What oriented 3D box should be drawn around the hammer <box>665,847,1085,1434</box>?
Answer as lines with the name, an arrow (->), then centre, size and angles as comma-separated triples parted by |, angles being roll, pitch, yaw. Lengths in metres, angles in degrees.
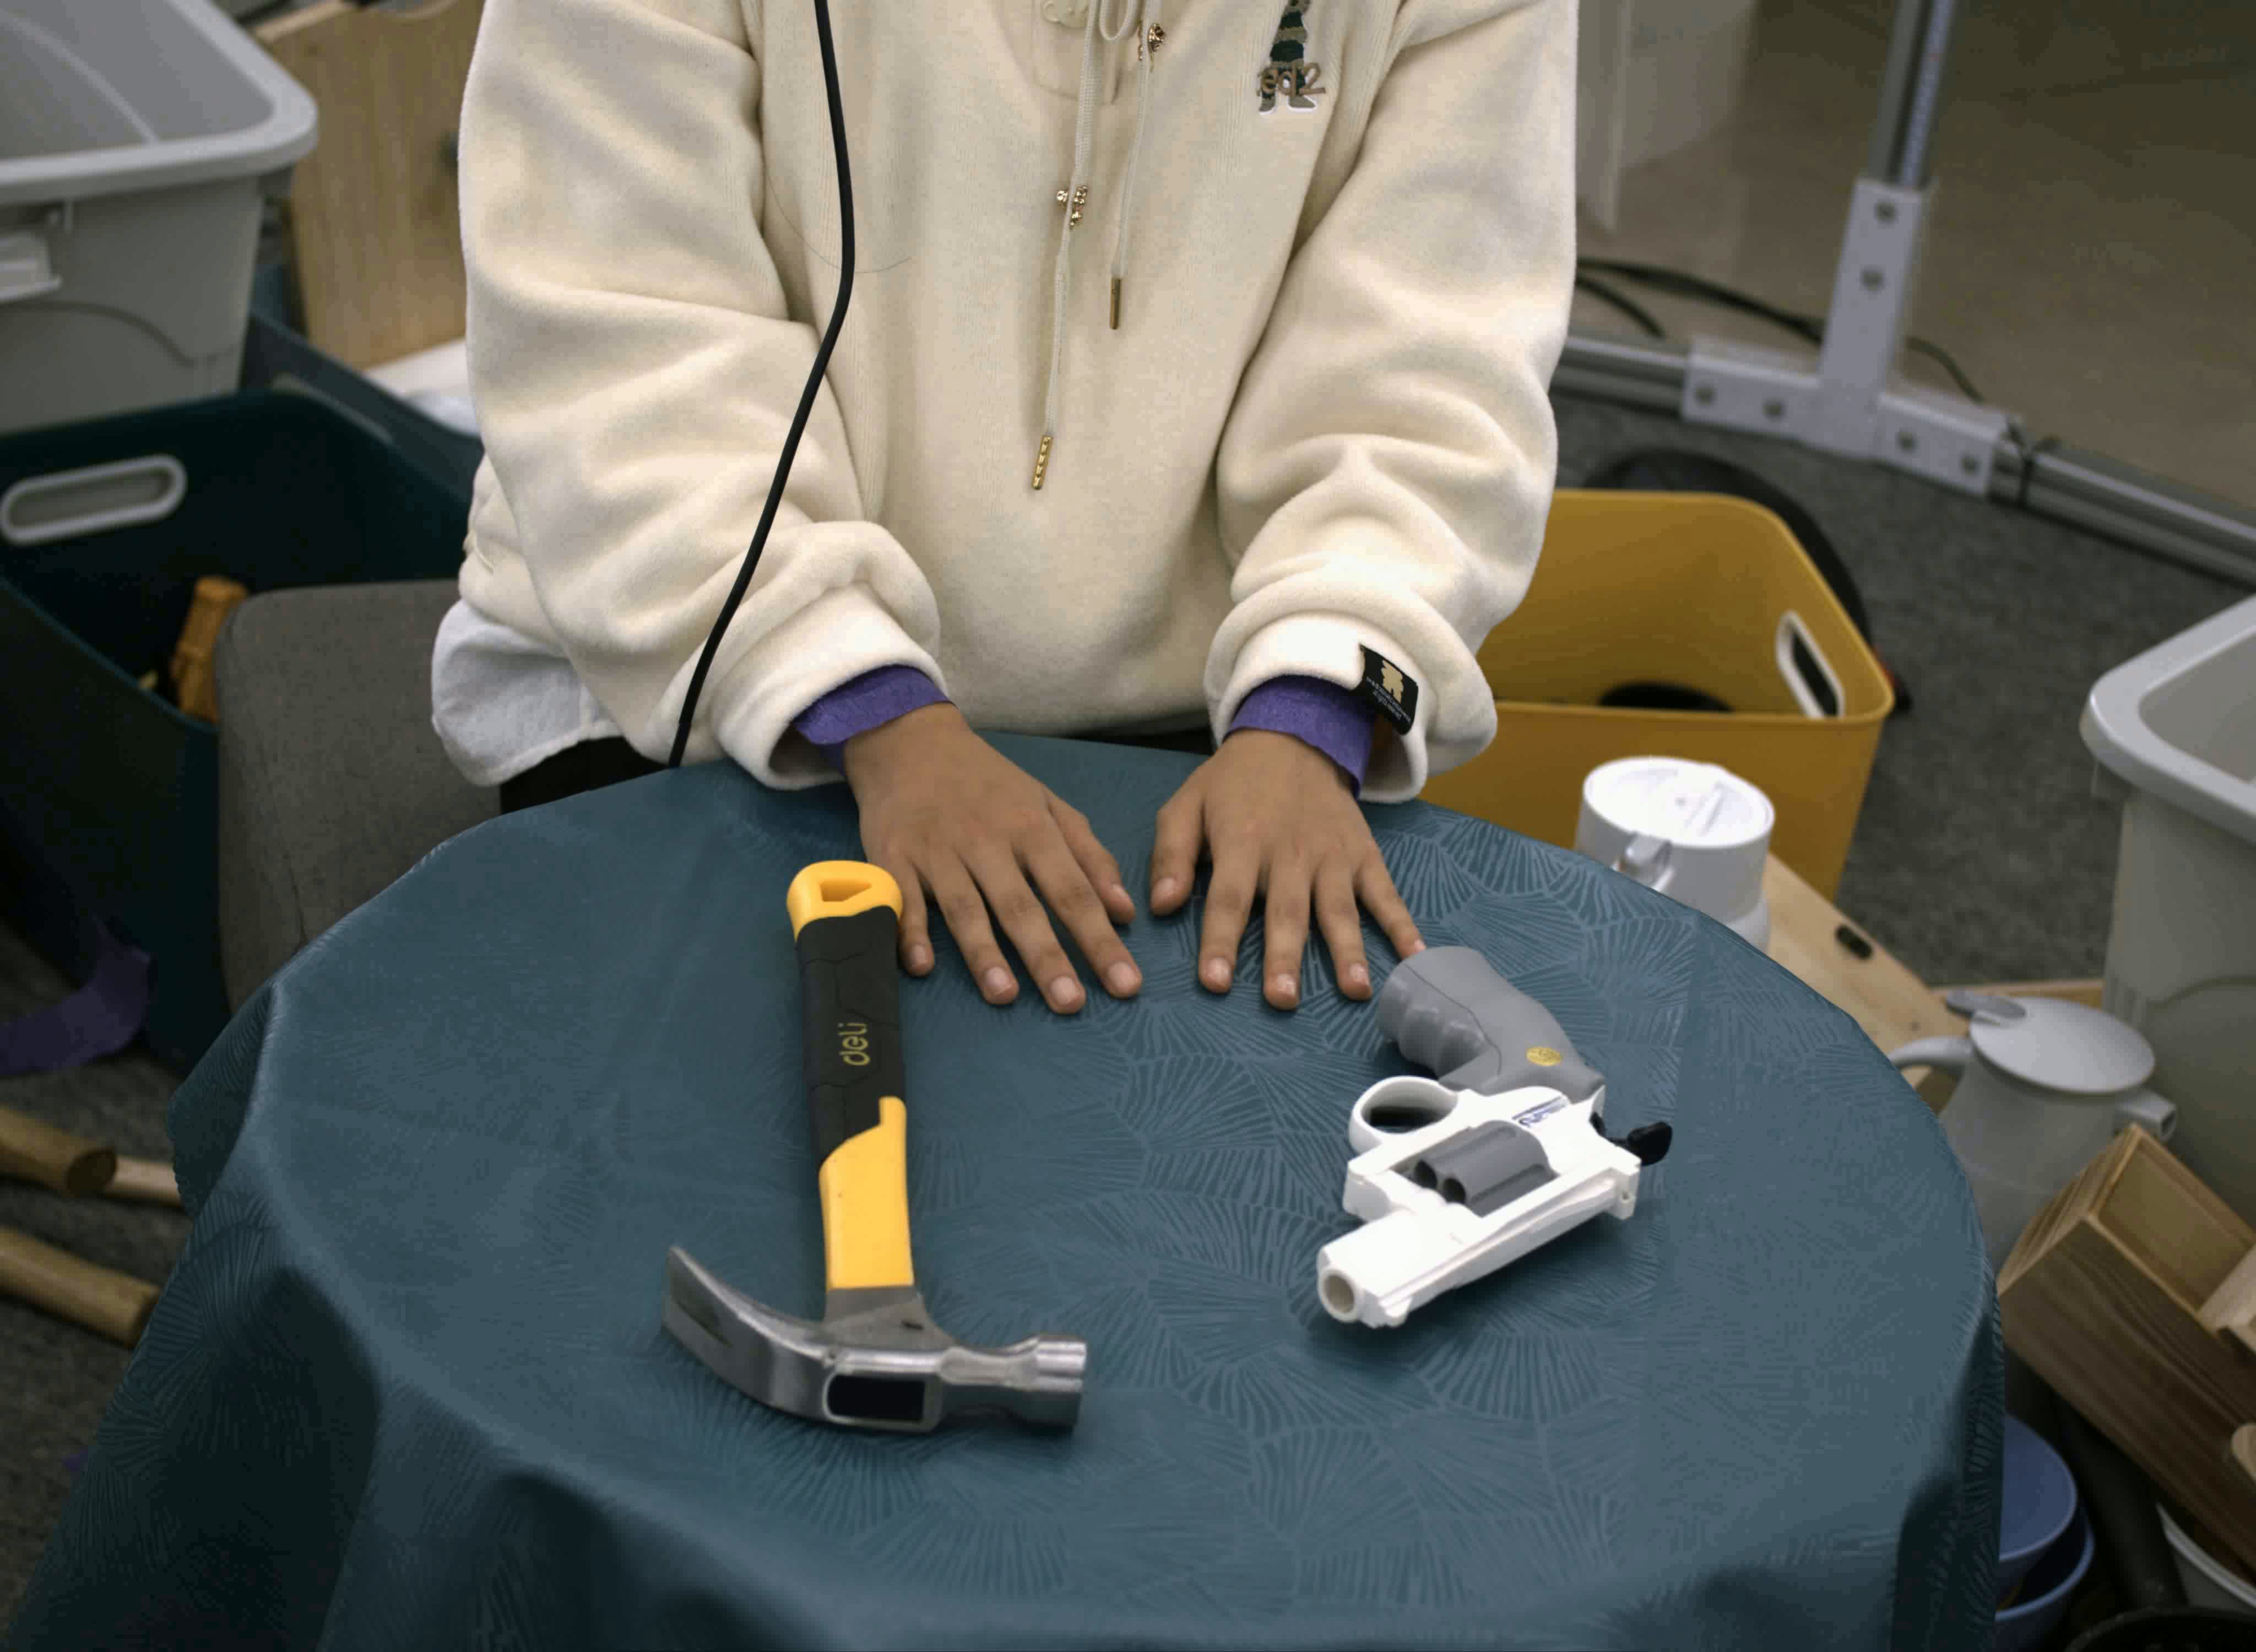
hammer -> -0.090, 0.097, 1.794 | 0.131, 0.032, 0.341 | 1, 28, -5

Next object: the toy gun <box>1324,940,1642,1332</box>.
toy gun -> 0.103, 0.105, 1.818 | 0.142, 0.038, 0.208 | 27, 33, 33
